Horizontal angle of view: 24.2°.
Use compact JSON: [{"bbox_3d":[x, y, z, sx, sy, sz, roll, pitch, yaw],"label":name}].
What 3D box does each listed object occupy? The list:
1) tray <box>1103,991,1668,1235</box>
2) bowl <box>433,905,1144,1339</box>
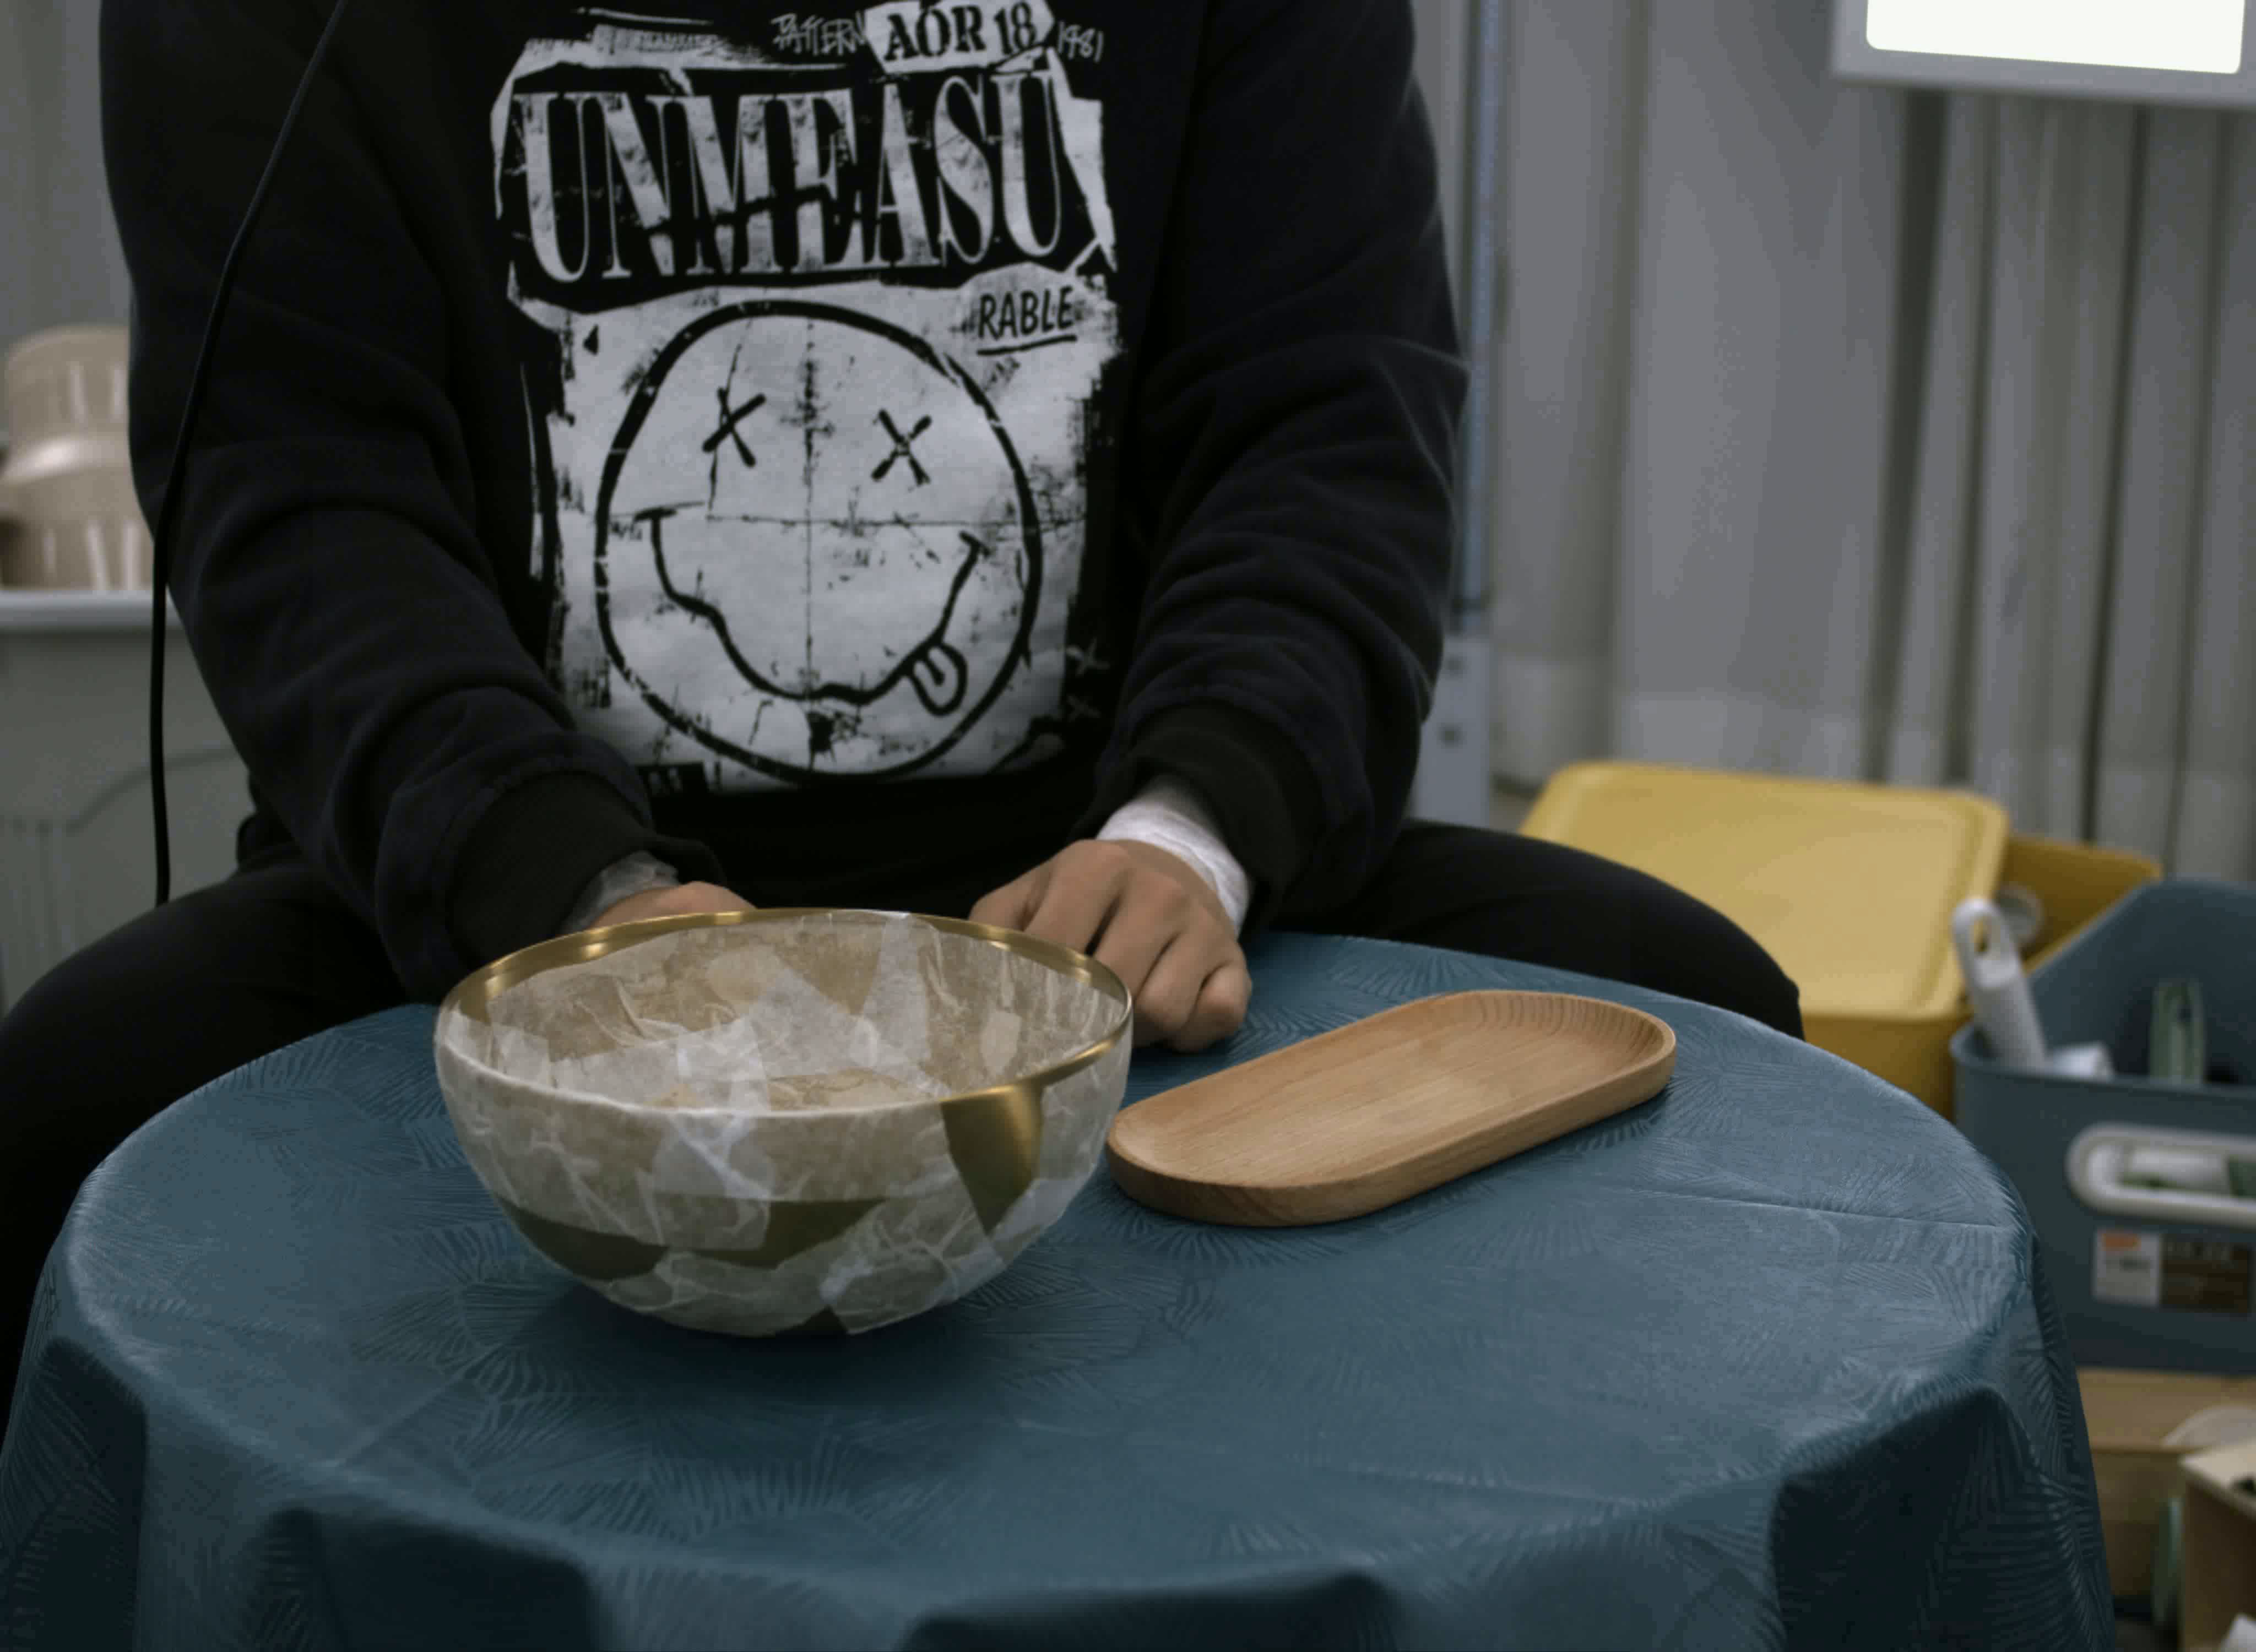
[{"bbox_3d":[0.085,0.090,1.682,0.100,0.020,0.232,11,20,39],"label":"tray"},{"bbox_3d":[-0.095,0.093,1.522,0.214,0.095,0.213,0,15,1],"label":"bowl"}]
